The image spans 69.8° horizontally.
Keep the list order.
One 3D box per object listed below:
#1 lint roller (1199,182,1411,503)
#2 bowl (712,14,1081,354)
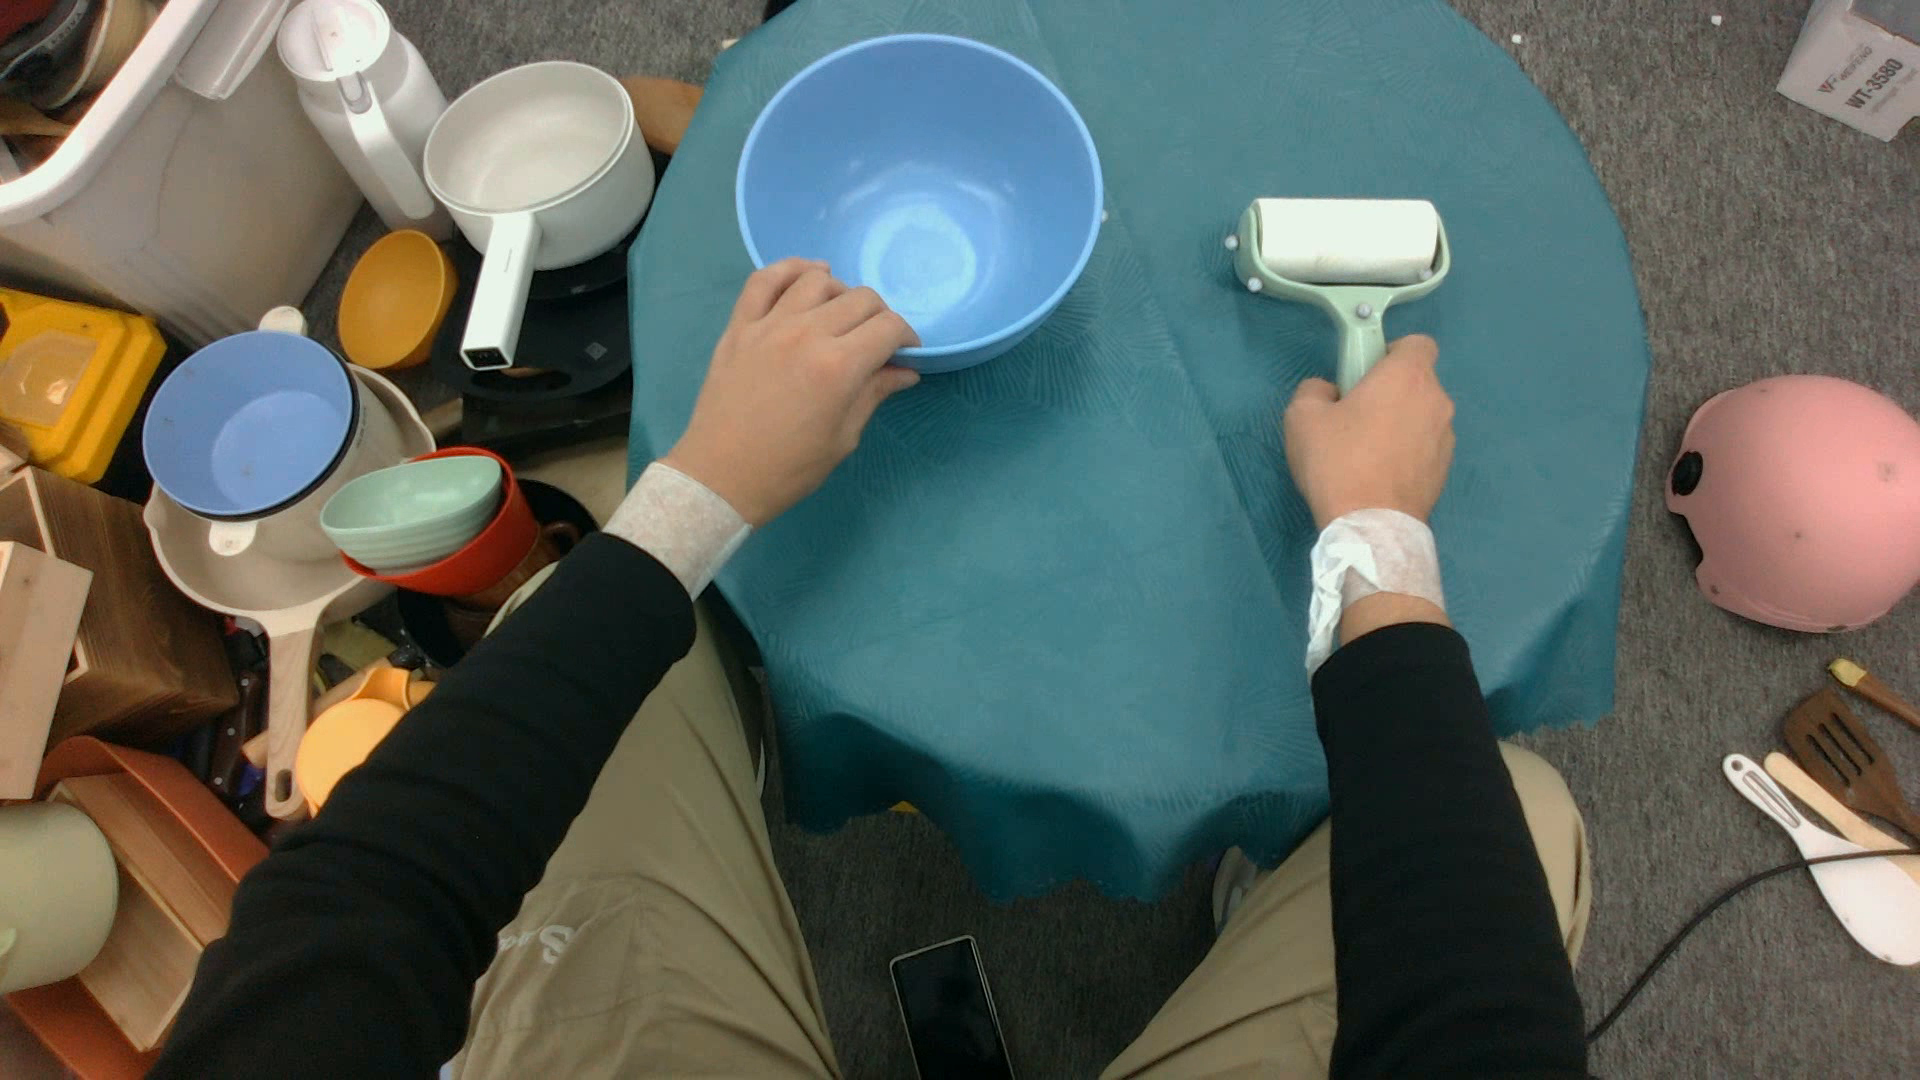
[{"bbox_3d":[0.200,-0.117,0.775,0.117,0.048,0.198,2,66,-6],"label":"lint roller"},{"bbox_3d":[-0.035,-0.184,0.775,0.196,0.095,0.197,1,72,-3],"label":"bowl"}]
